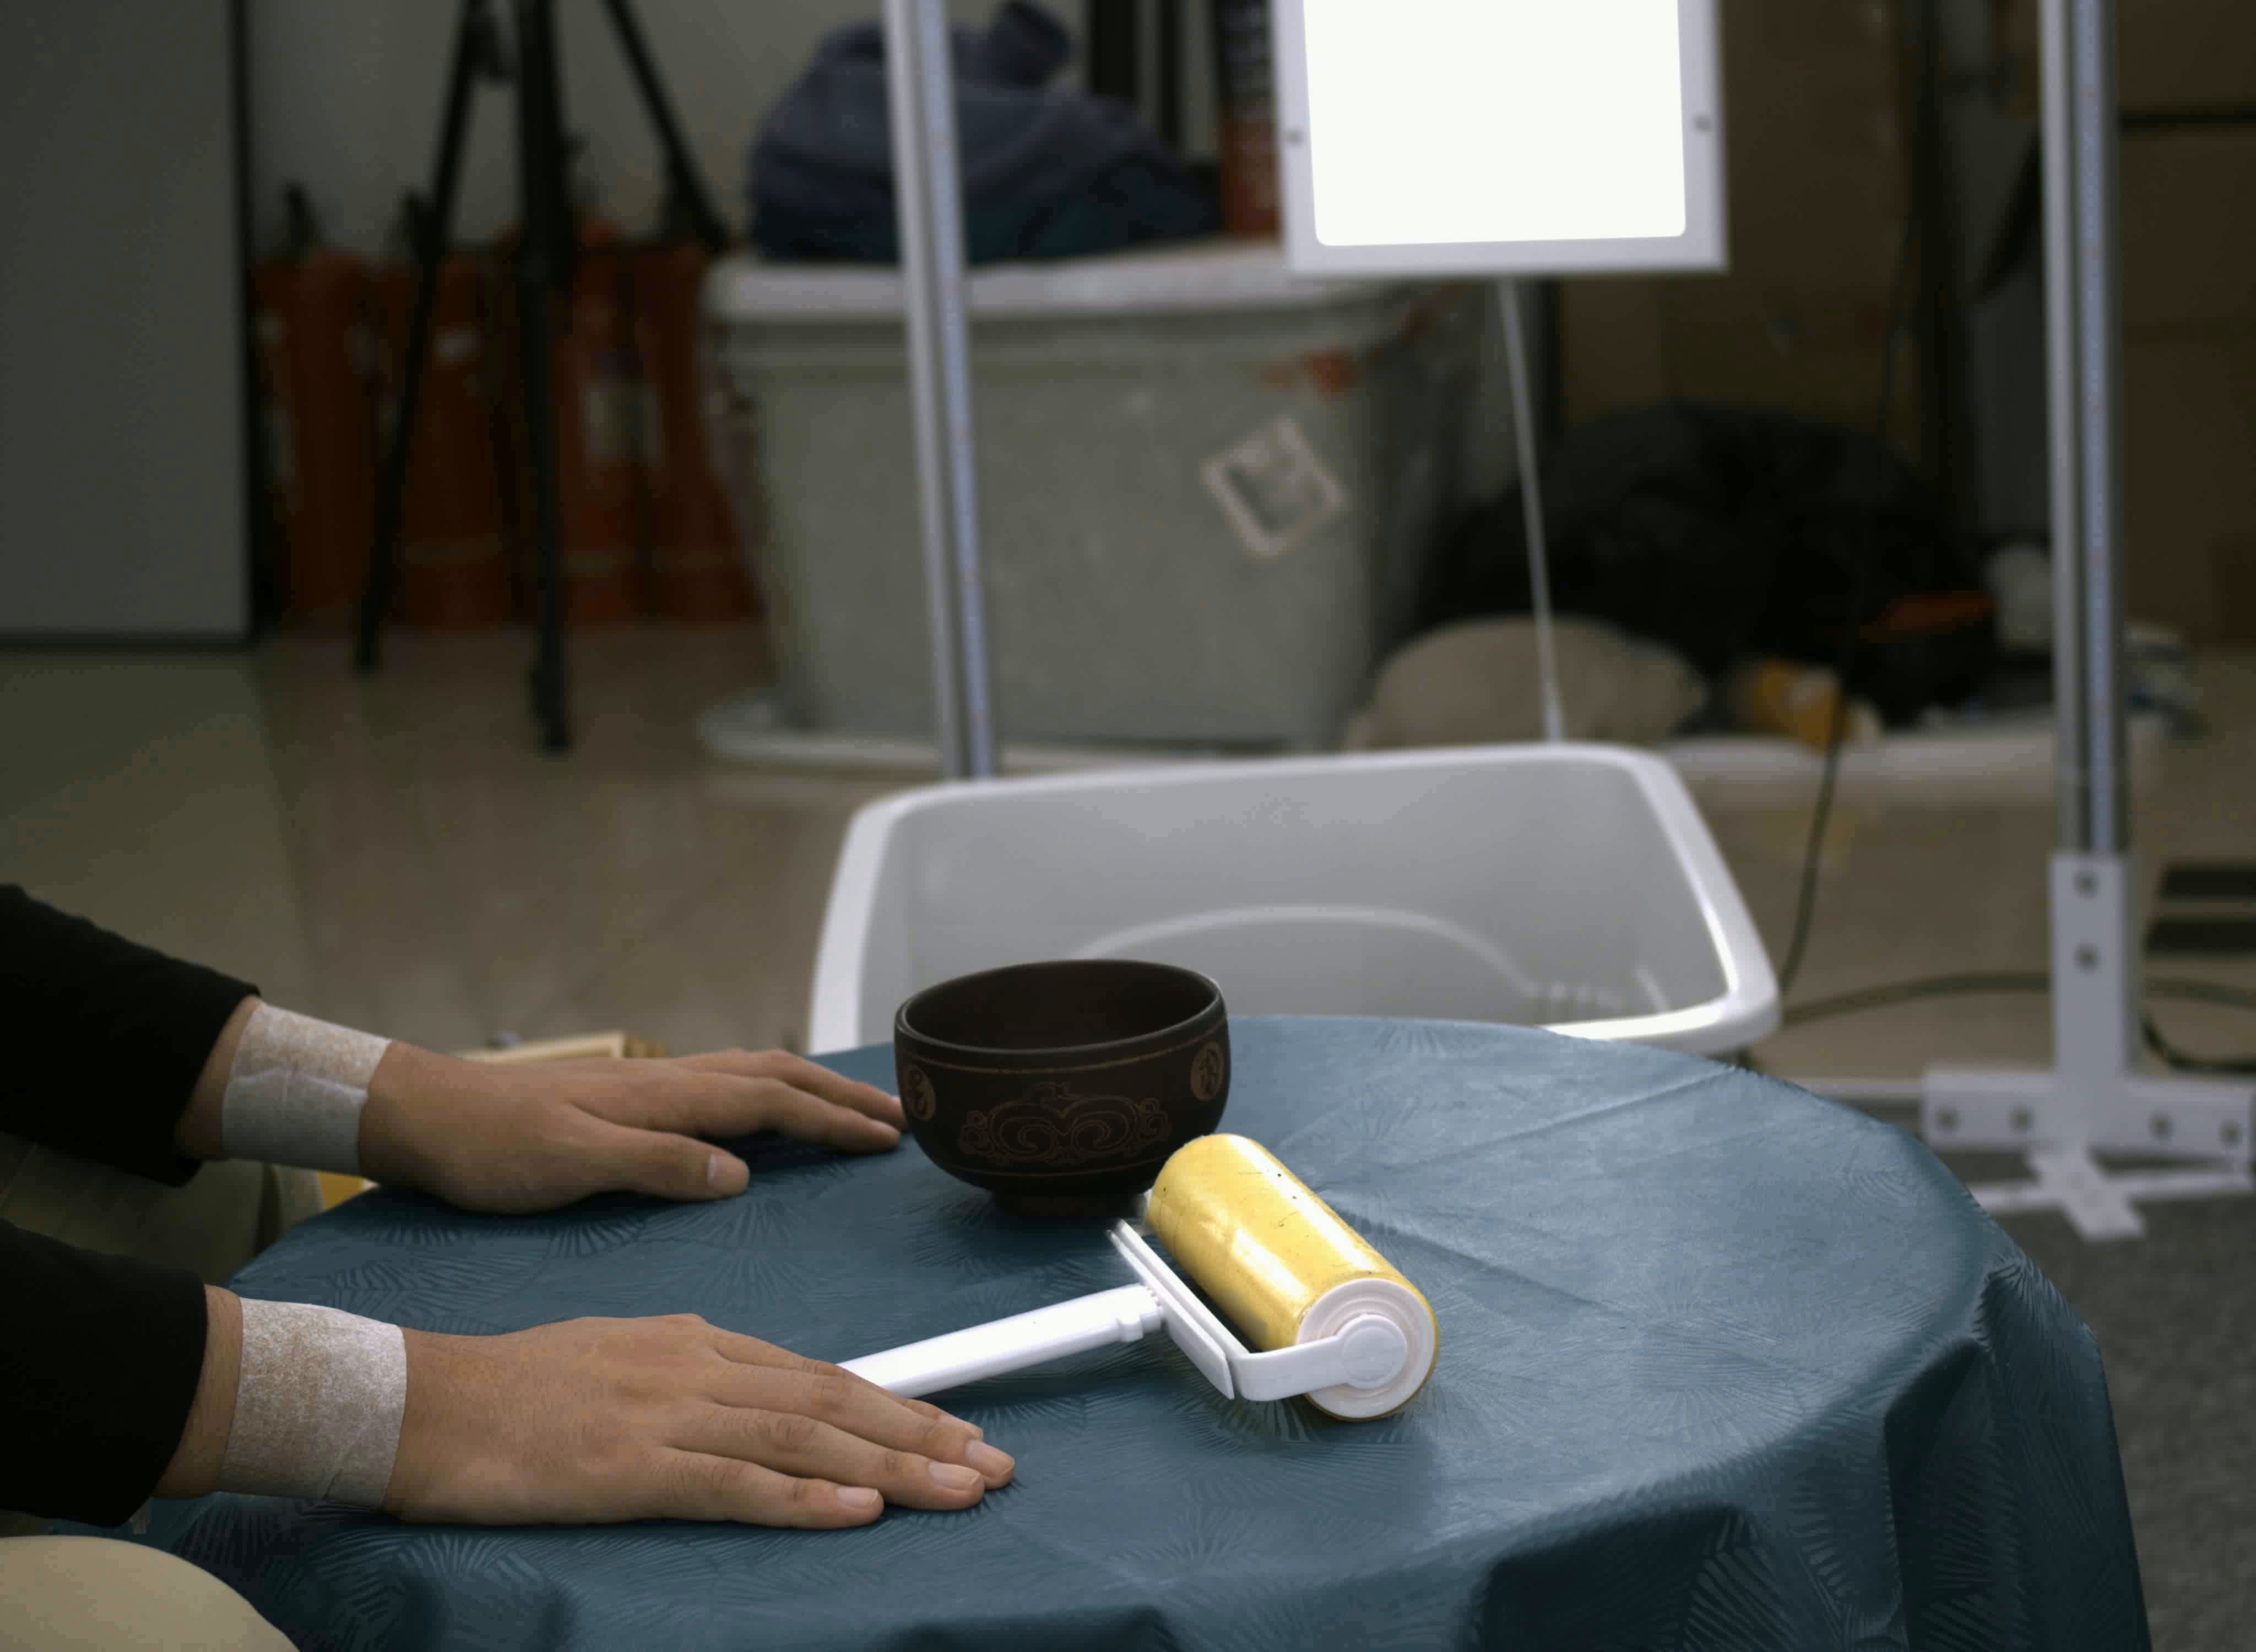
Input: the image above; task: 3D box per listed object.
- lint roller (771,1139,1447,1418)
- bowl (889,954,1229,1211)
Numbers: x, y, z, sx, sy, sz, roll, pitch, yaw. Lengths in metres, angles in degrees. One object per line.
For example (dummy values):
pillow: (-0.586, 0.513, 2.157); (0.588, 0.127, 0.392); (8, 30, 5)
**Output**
lint roller: (-0.017, 0.147, 1.709); (0.189, 0.051, 0.176); (-4, 13, -15)
bowl: (-0.023, 0.091, 1.893); (0.117, 0.070, 0.118); (-4, 13, 0)
